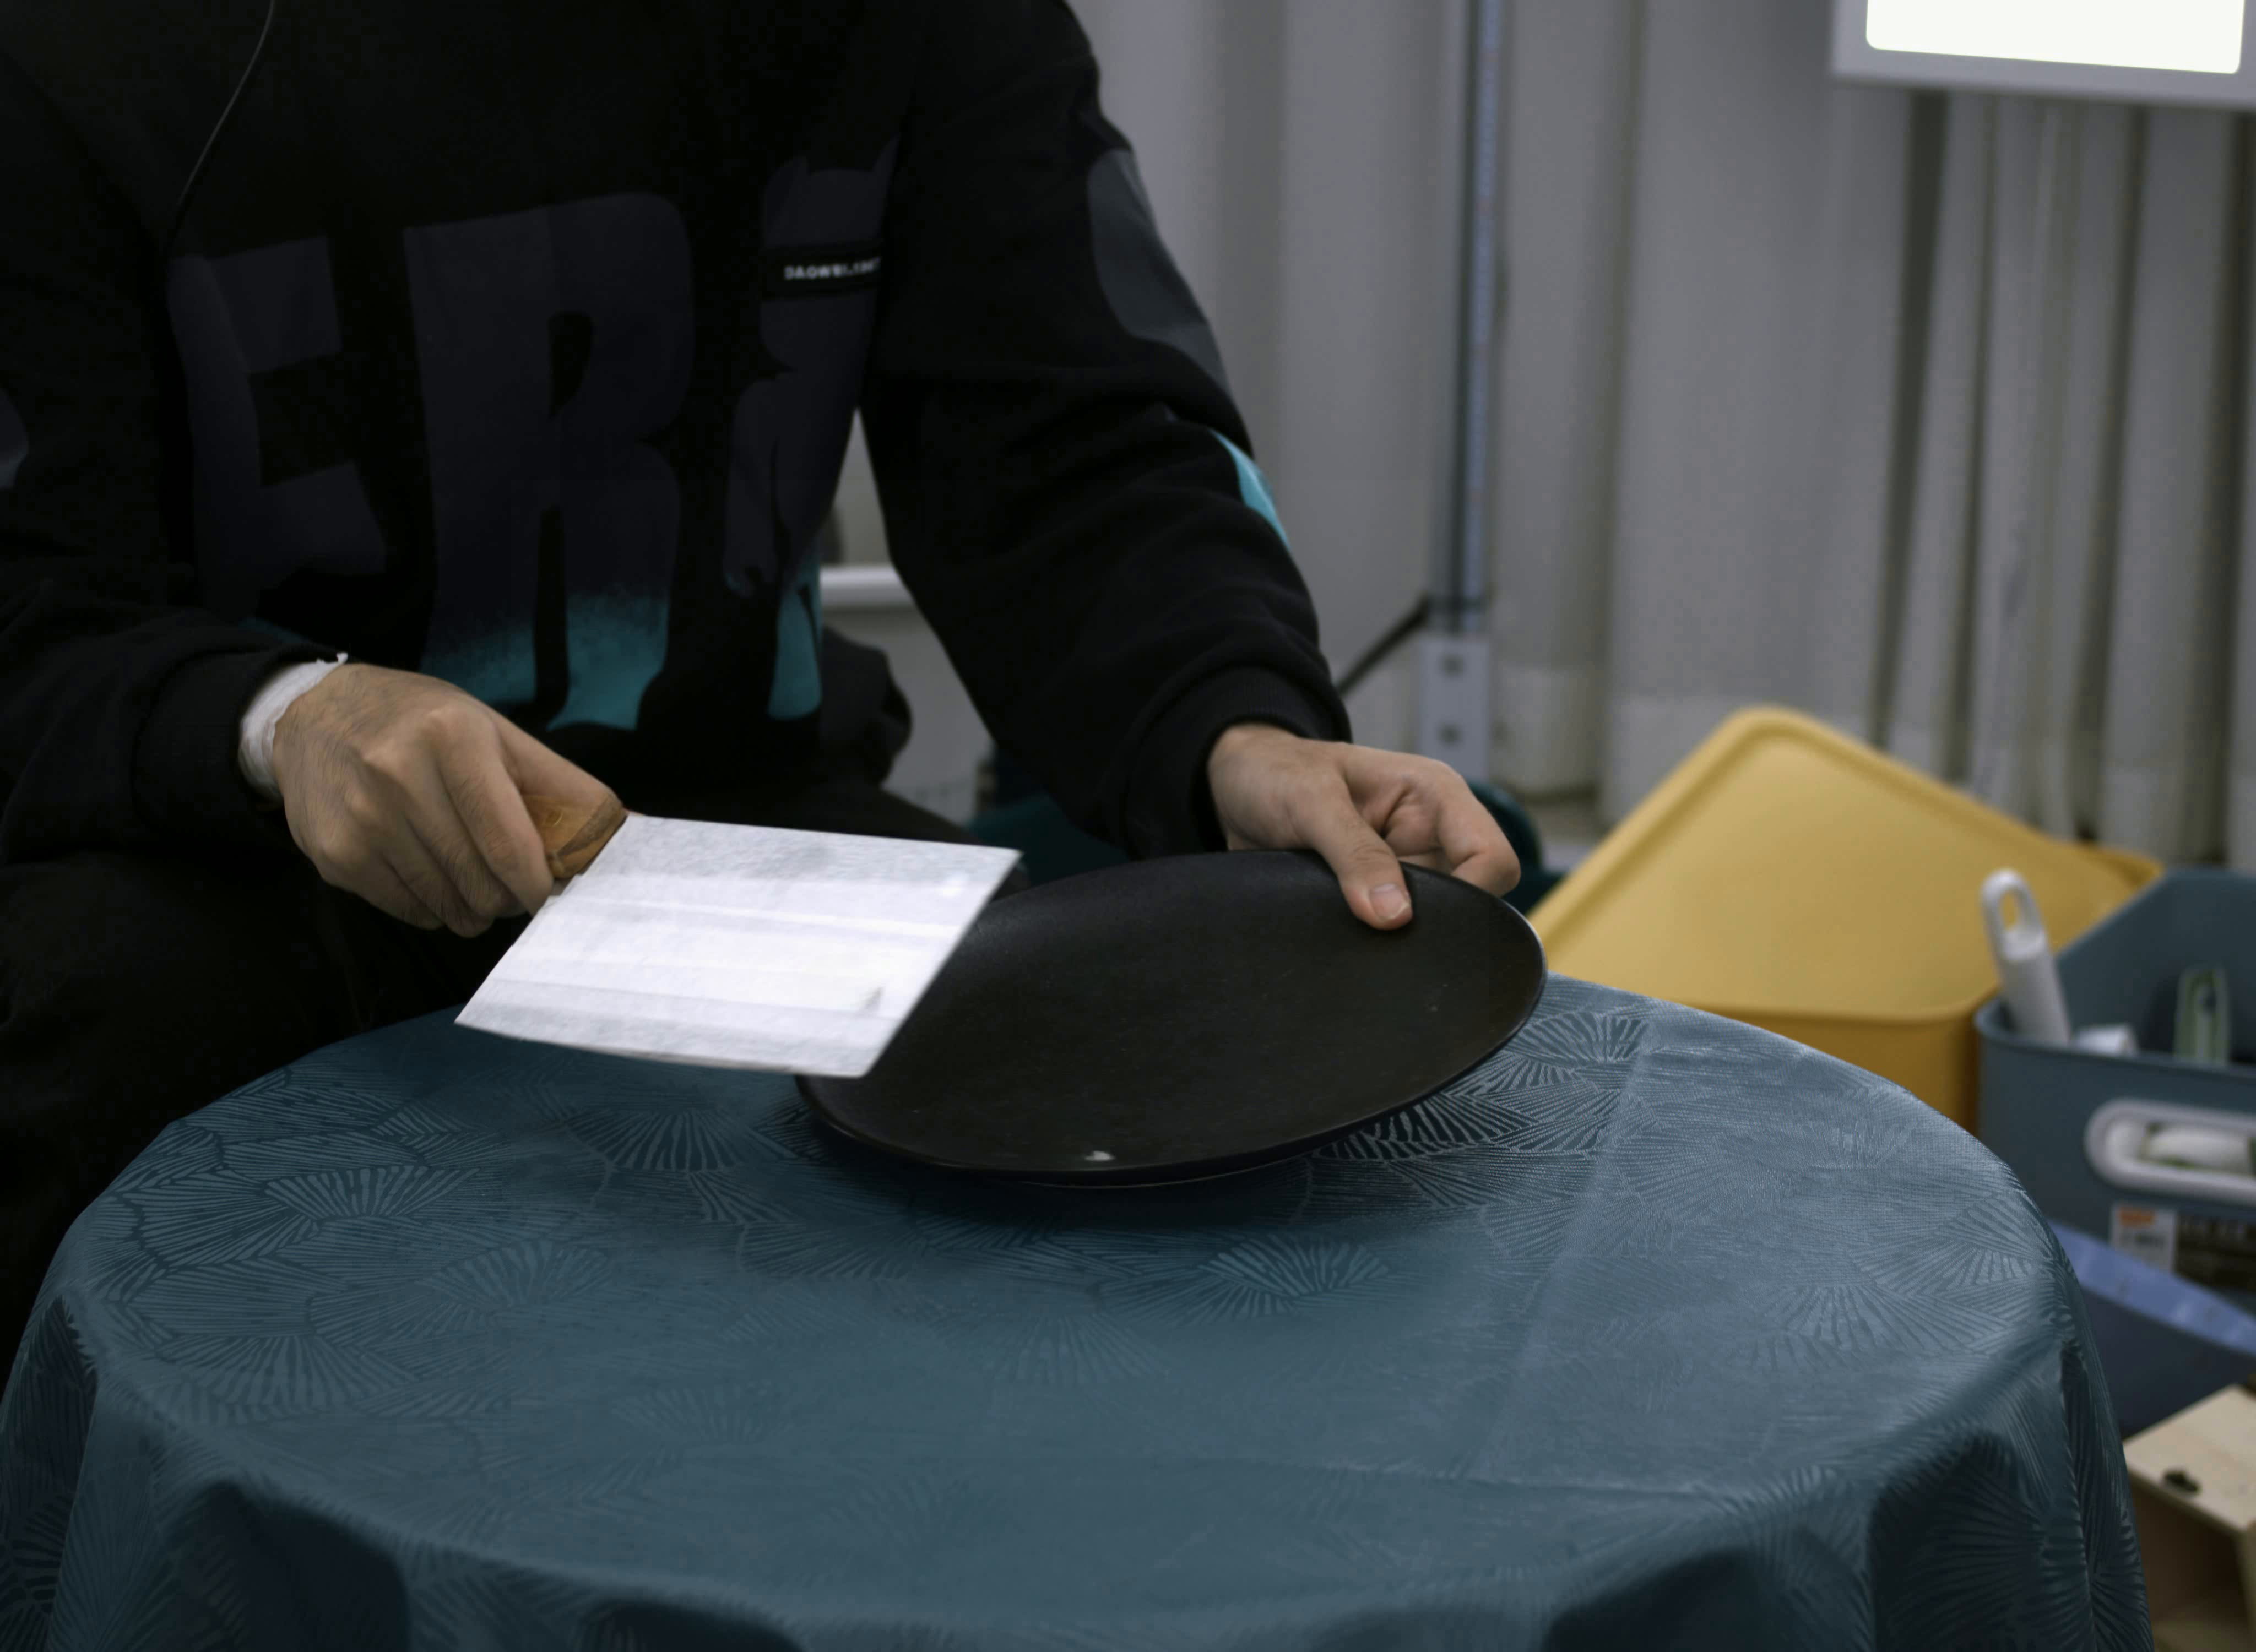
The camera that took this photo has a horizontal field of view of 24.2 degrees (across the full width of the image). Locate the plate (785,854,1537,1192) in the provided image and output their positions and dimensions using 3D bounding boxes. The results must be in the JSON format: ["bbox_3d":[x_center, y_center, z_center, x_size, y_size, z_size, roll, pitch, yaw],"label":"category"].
[{"bbox_3d":[0.012,0.066,1.687,0.243,0.023,0.243,-7,22,3],"label":"plate"}]

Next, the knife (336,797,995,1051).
[{"bbox_3d":[-0.161,0.031,1.629,0.302,0.021,0.093,4,52,46],"label":"knife"}]
